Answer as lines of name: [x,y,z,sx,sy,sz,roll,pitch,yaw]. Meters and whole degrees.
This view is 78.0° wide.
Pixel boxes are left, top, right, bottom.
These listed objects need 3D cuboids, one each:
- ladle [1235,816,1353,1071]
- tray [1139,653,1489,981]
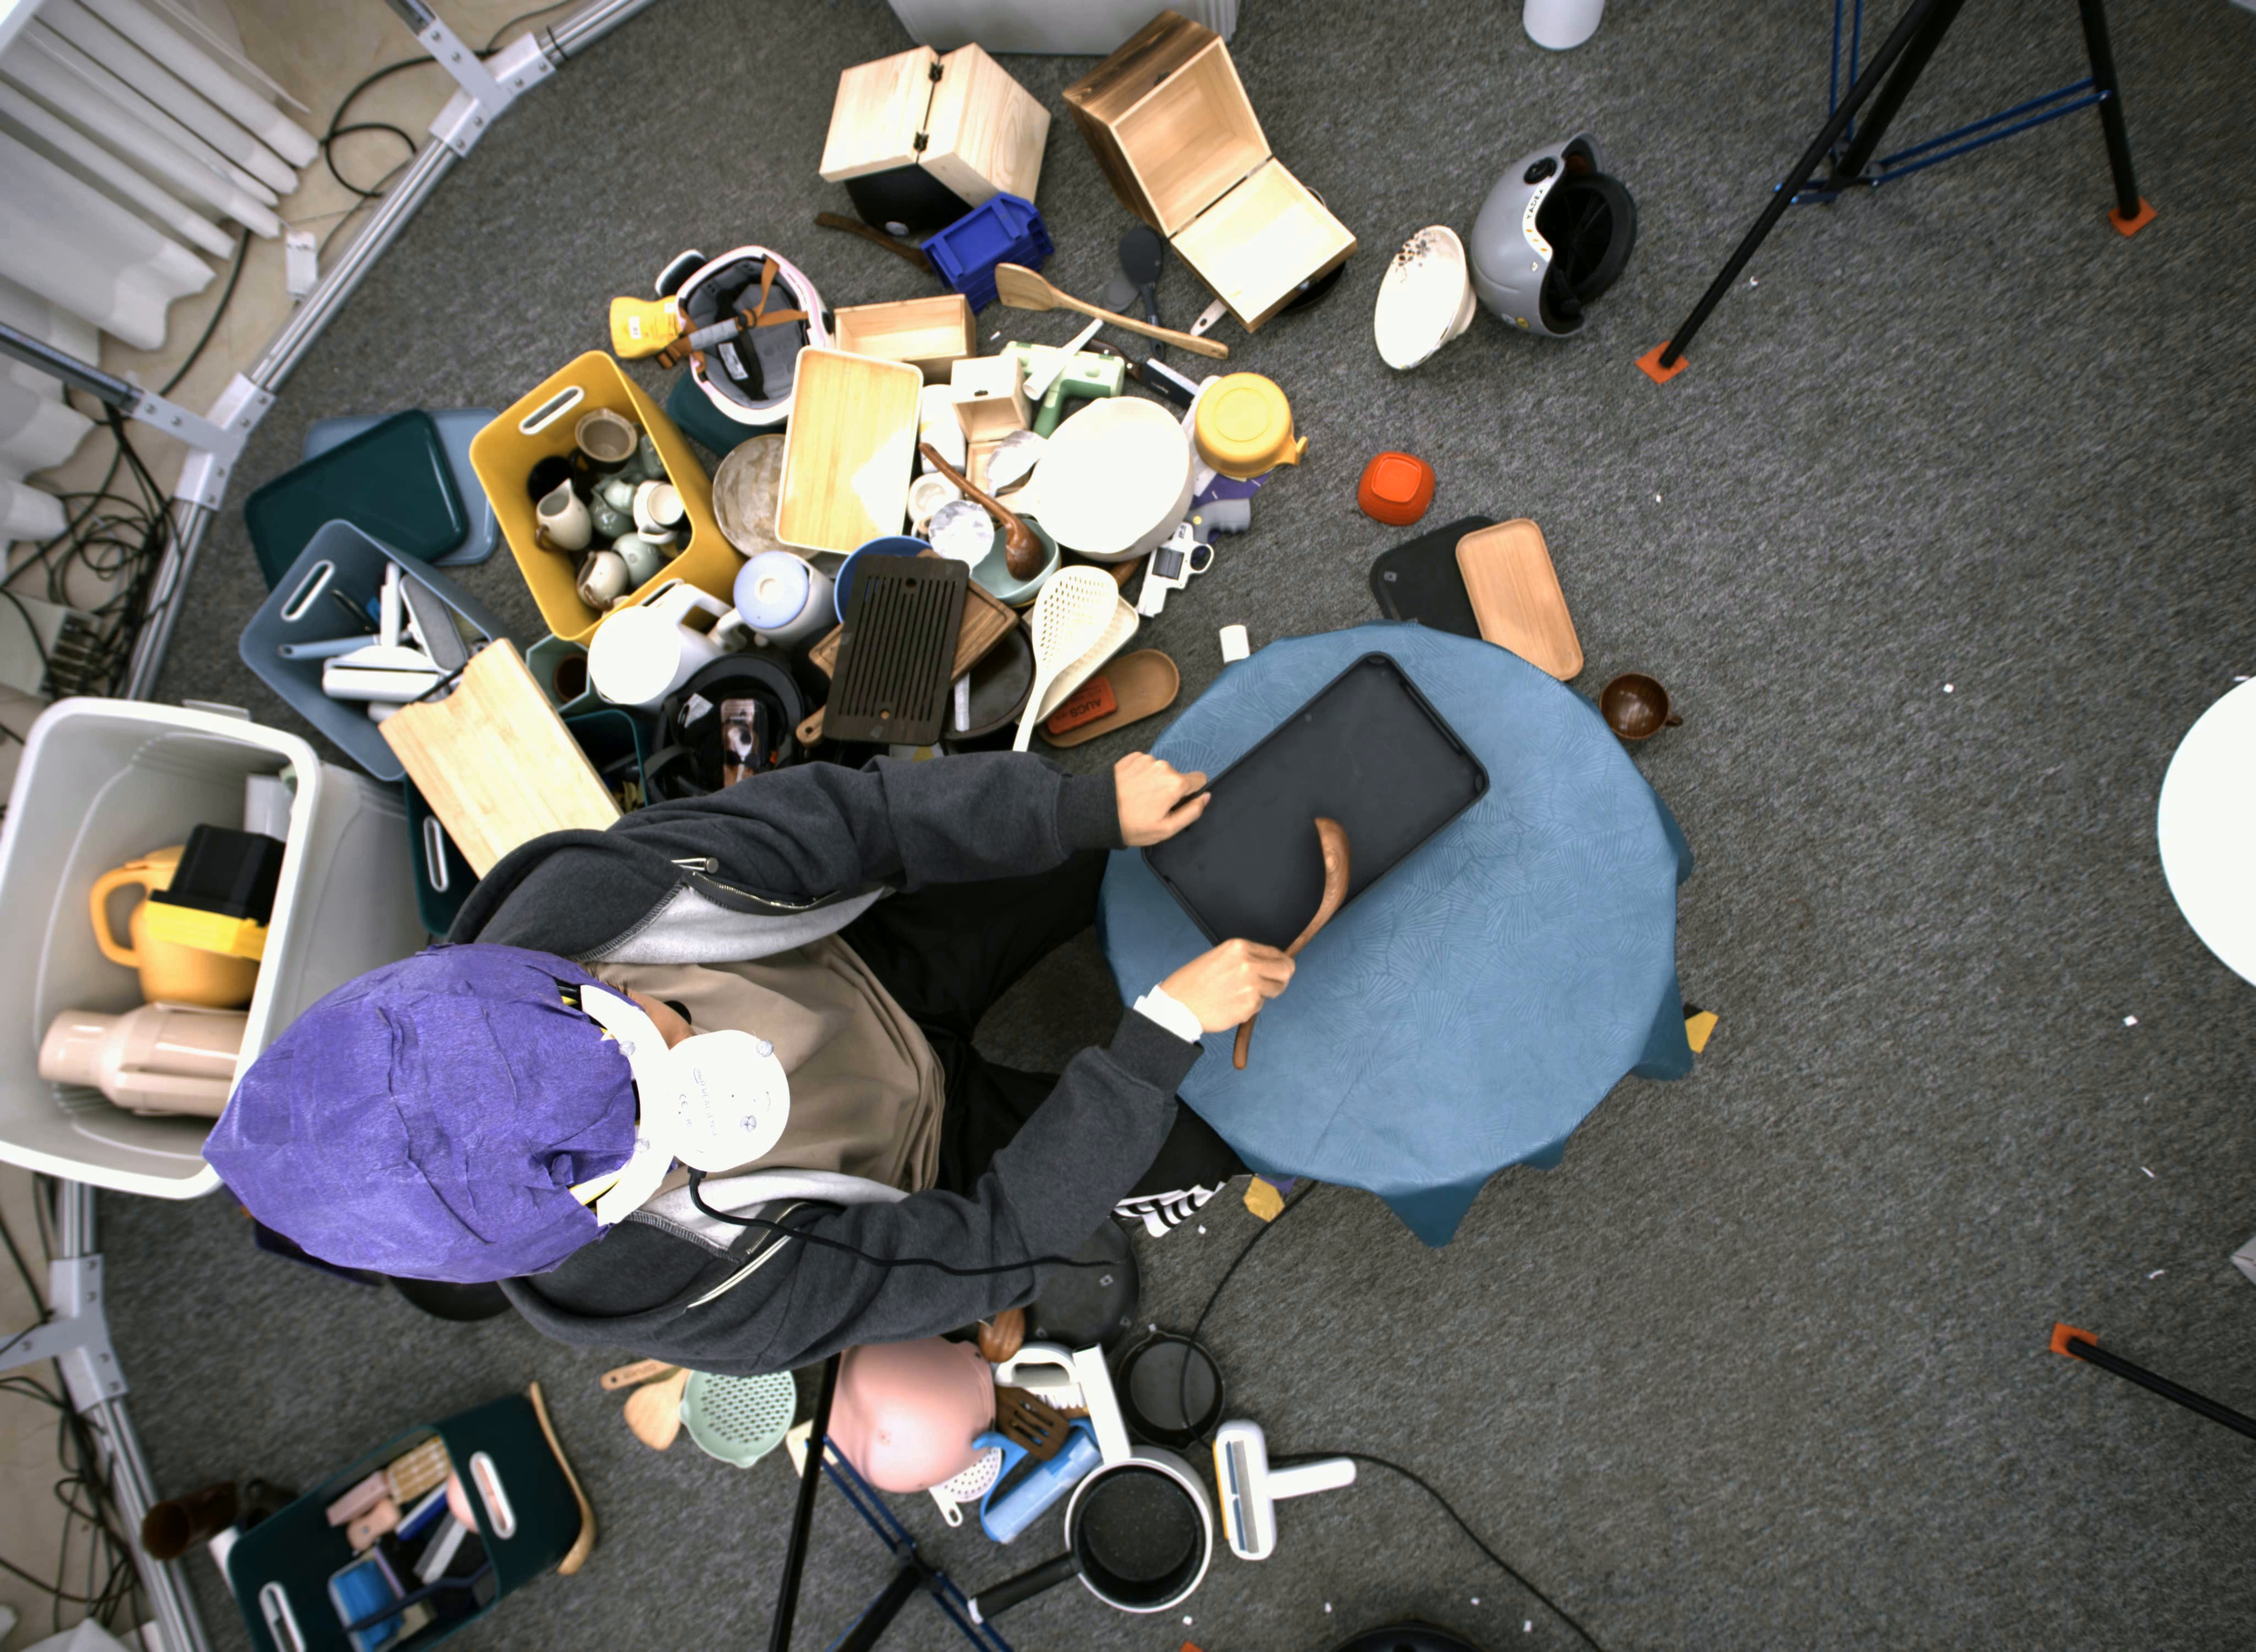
ladle: [0.148,0.109,1.332,0.065,0.077,0.258,29,81,16]
tray: [0.182,-0.009,1.369,0.319,0.037,0.184,-39,88,4]
